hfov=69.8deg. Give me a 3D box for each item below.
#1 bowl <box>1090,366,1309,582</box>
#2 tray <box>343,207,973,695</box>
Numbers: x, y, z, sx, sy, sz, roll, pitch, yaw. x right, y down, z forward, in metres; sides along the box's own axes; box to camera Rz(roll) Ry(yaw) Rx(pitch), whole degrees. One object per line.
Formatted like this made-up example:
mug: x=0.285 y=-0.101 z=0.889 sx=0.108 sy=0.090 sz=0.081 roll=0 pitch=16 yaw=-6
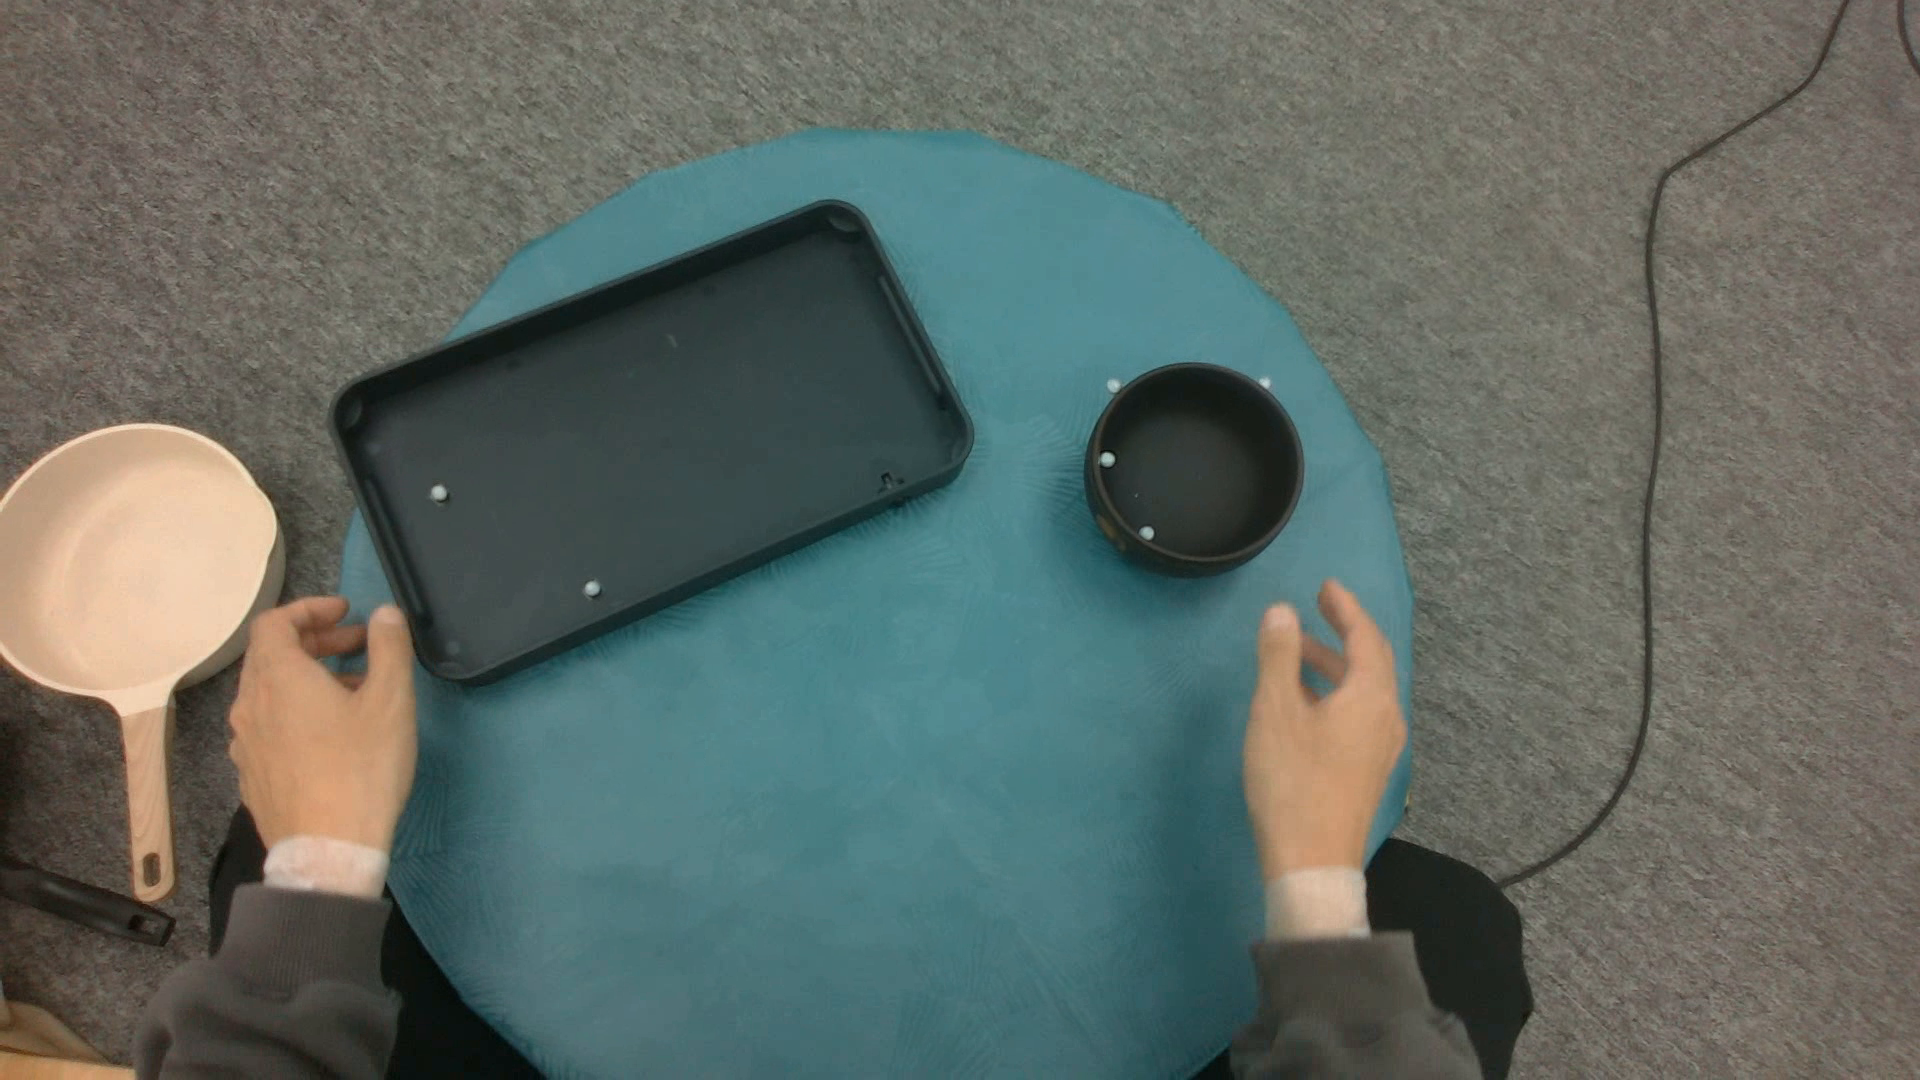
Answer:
bowl: x=0.130 y=-0.032 z=0.776 sx=0.118 sy=0.069 sz=0.118 roll=1 pitch=74 yaw=-4
tray: x=-0.167 y=-0.055 z=0.786 sx=0.318 sy=0.037 sz=0.184 roll=-26 pitch=76 yaw=-11
